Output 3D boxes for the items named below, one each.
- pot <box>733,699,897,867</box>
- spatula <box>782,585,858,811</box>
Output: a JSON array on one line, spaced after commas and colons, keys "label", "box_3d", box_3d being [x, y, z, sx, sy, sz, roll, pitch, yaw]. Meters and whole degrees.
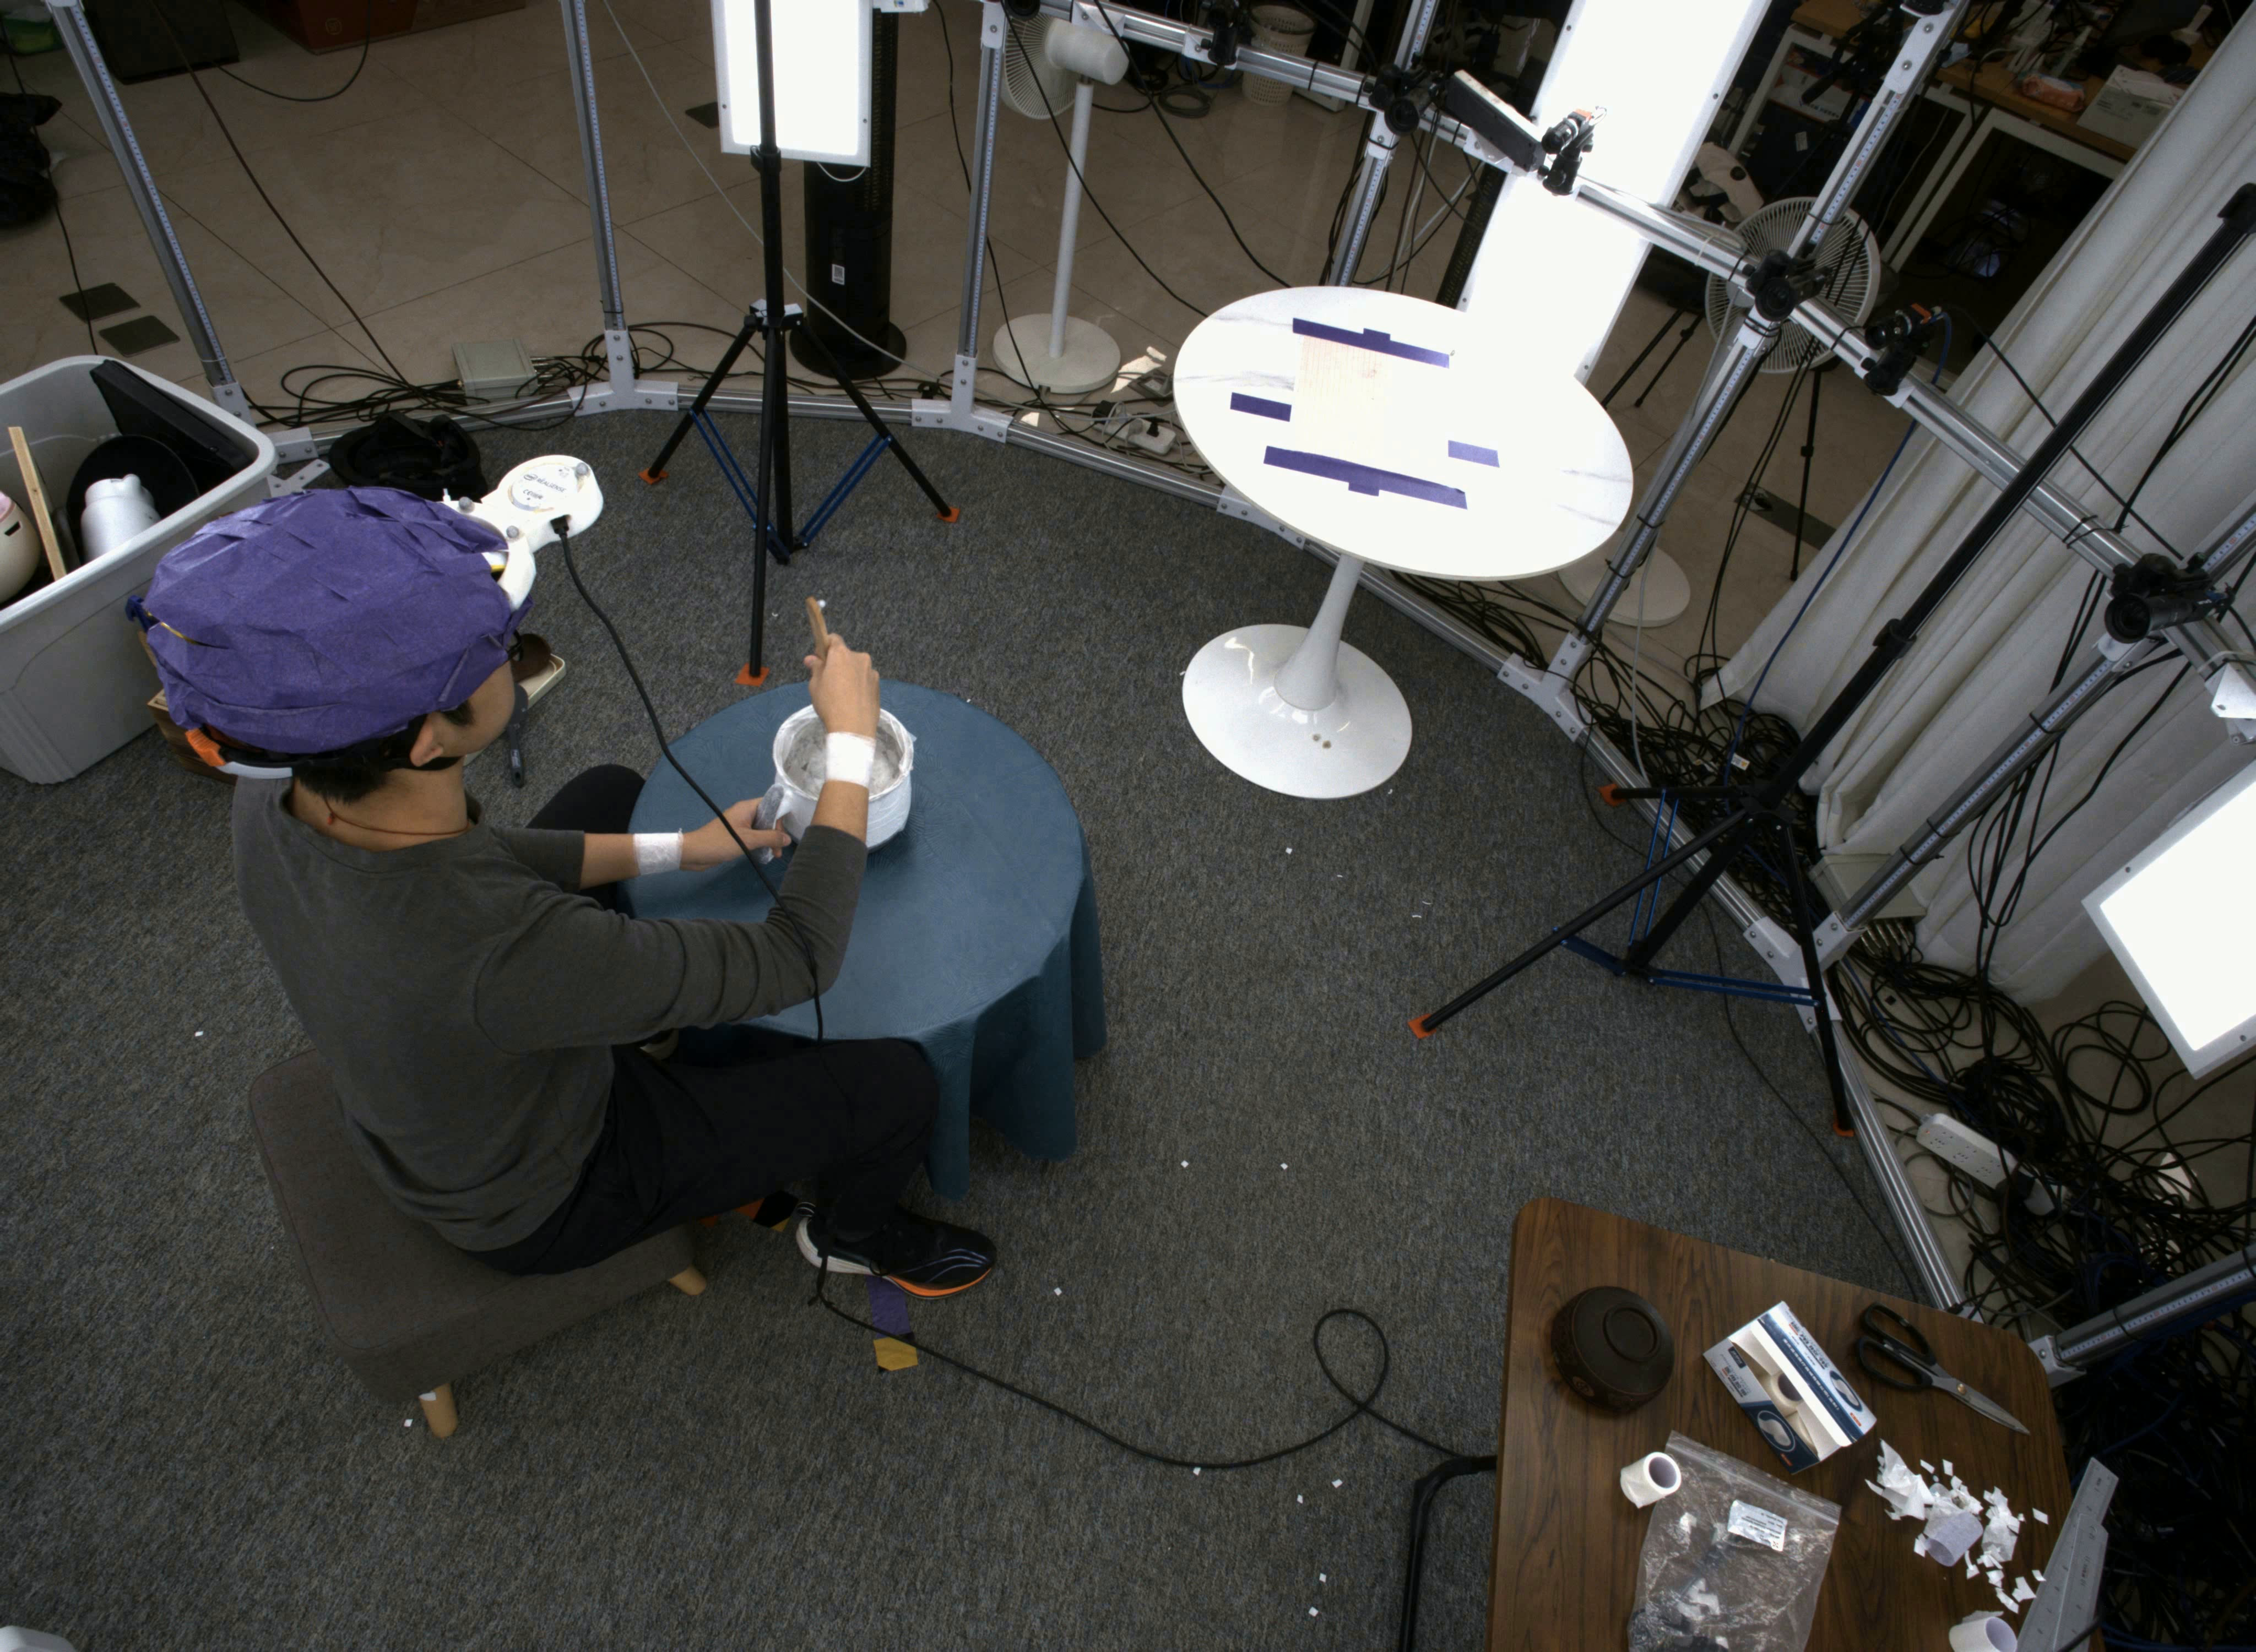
[{"label": "pot", "box_3d": [-0.411, -0.042, 1.683, 0.175, 0.139, 0.234, 40, 55, 17]}, {"label": "spatula", "box_3d": [-0.360, -0.142, 1.500, 0.018, 0.398, 0.094, -29, 67, -20]}]
